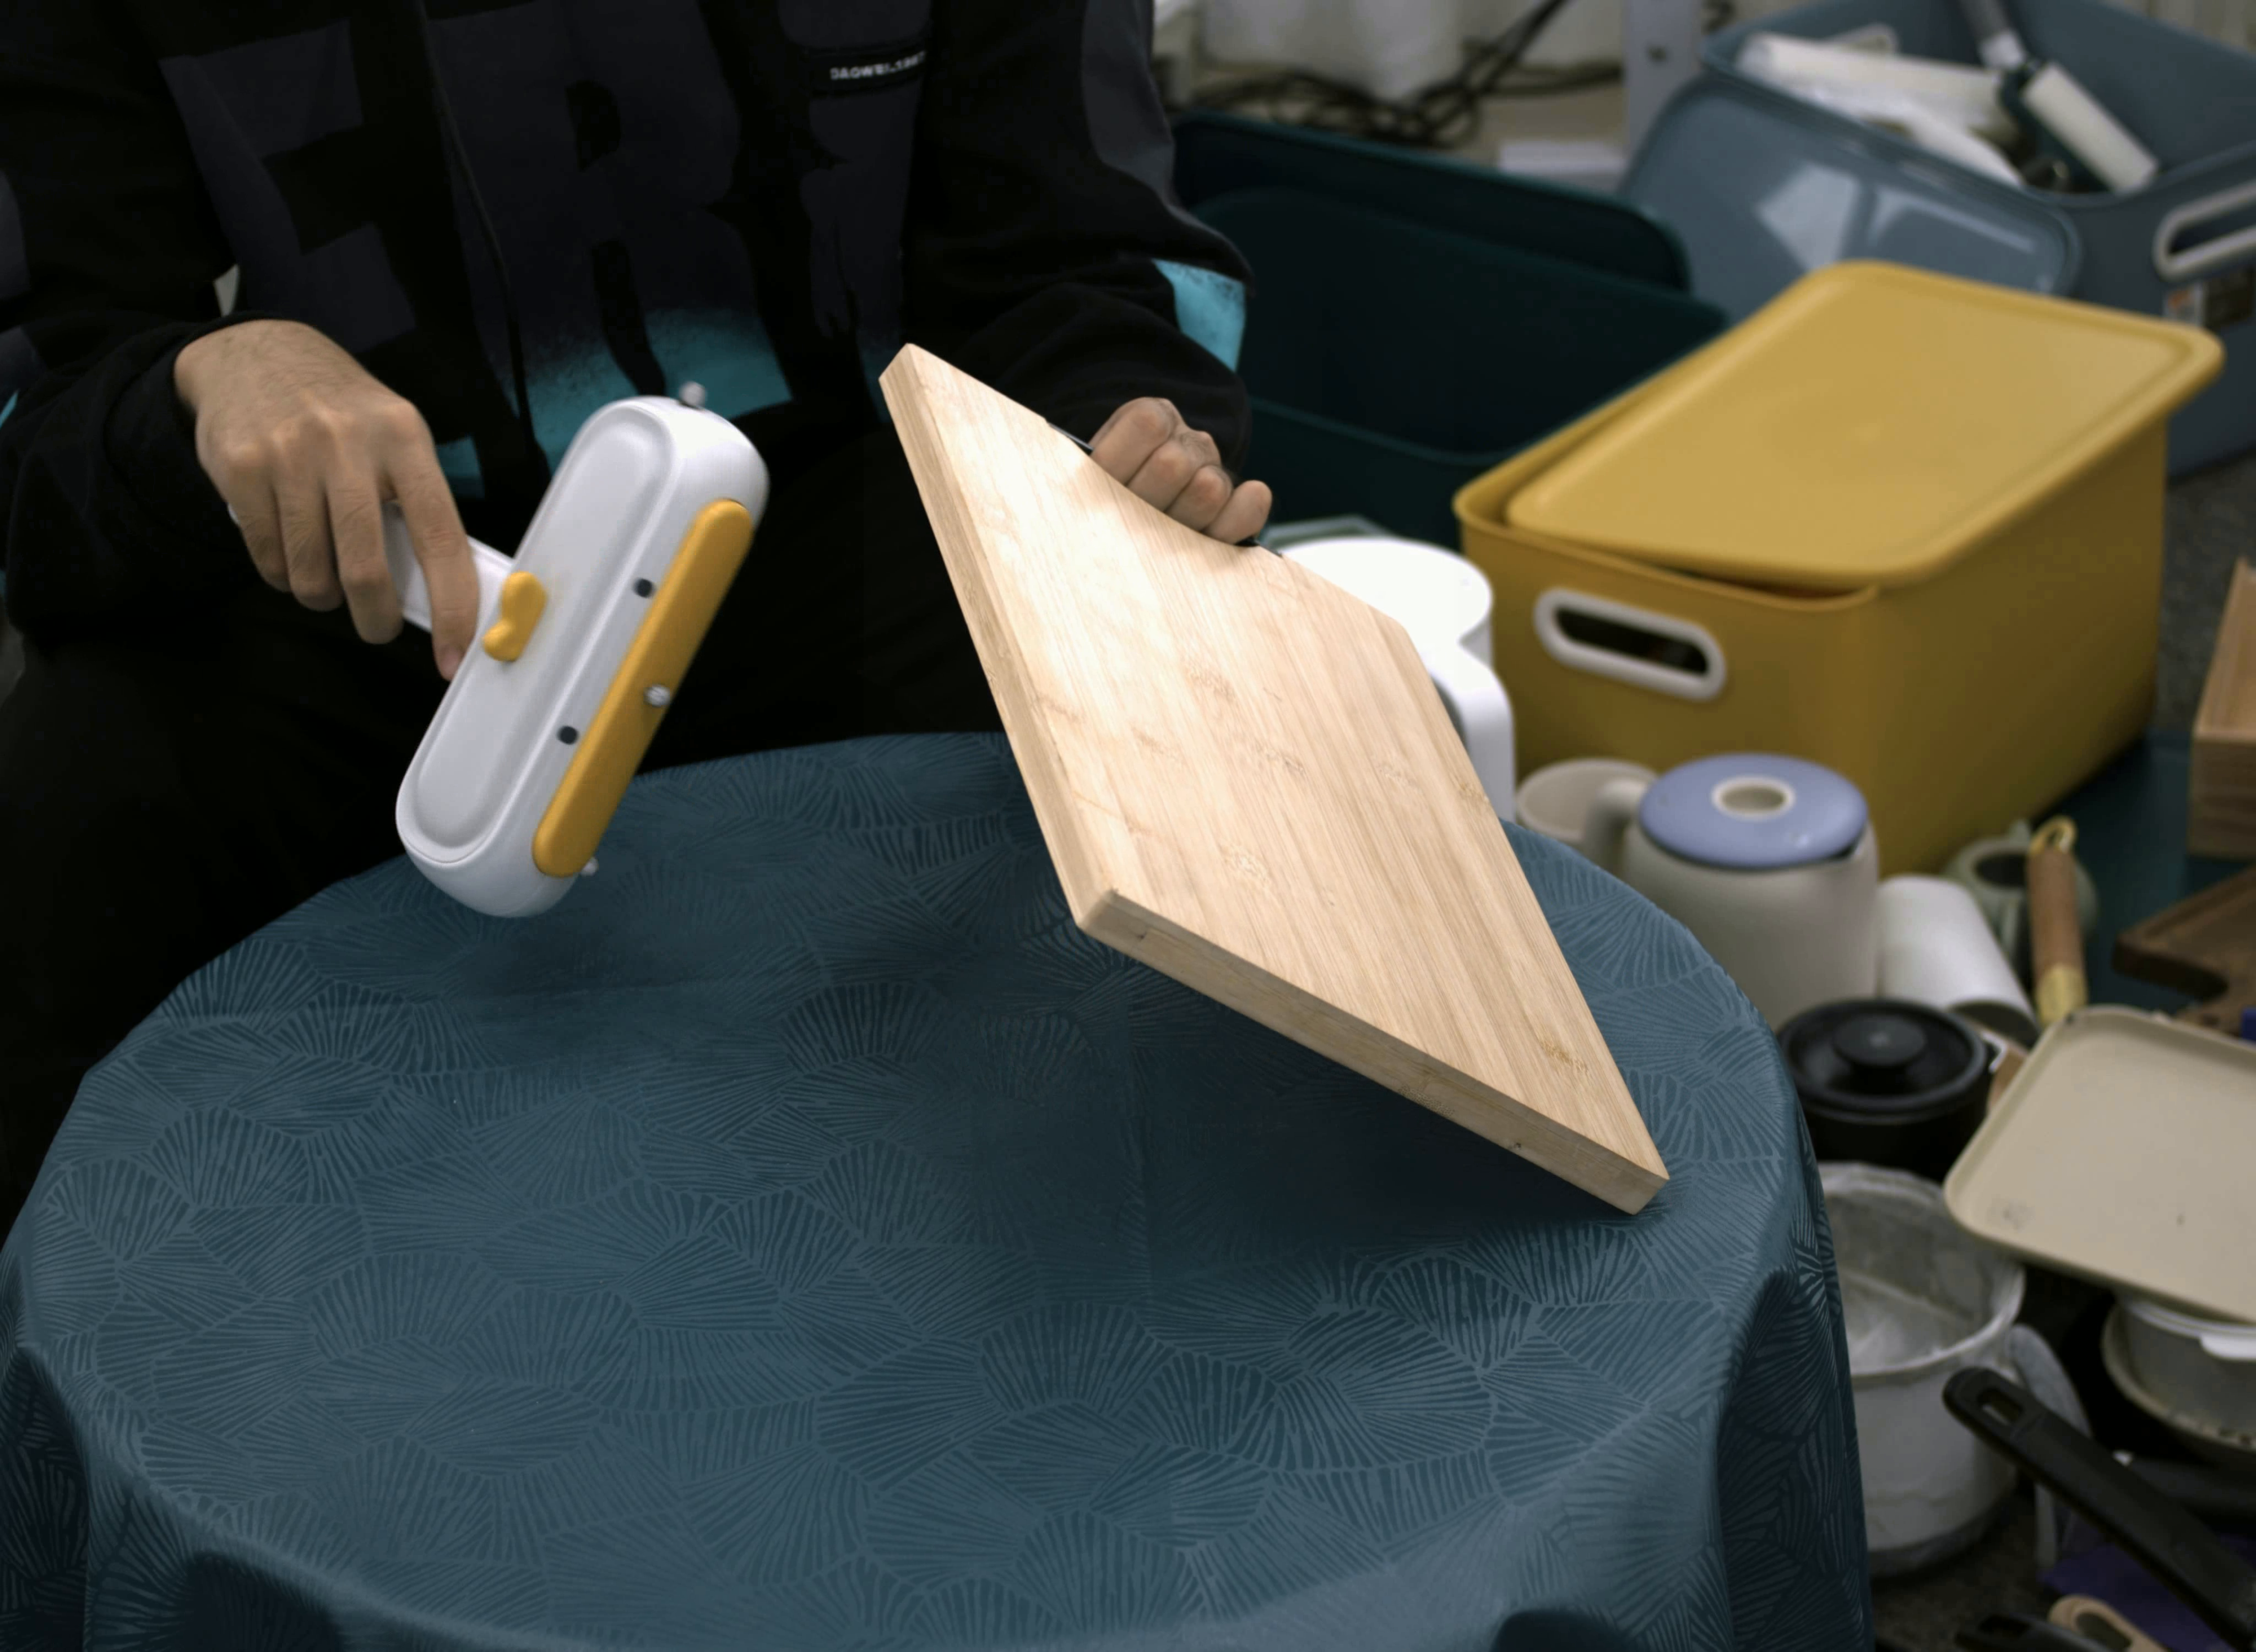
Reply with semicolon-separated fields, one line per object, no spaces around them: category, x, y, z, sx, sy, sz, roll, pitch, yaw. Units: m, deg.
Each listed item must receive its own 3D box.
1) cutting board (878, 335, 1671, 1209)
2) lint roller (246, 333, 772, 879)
cutting board;0.043;-0.024;1.915;0.249;0.023;0.353;28;23;-30
lint roller;-0.228;-0.091;1.986;0.191;0.193;0.074;17;2;37
